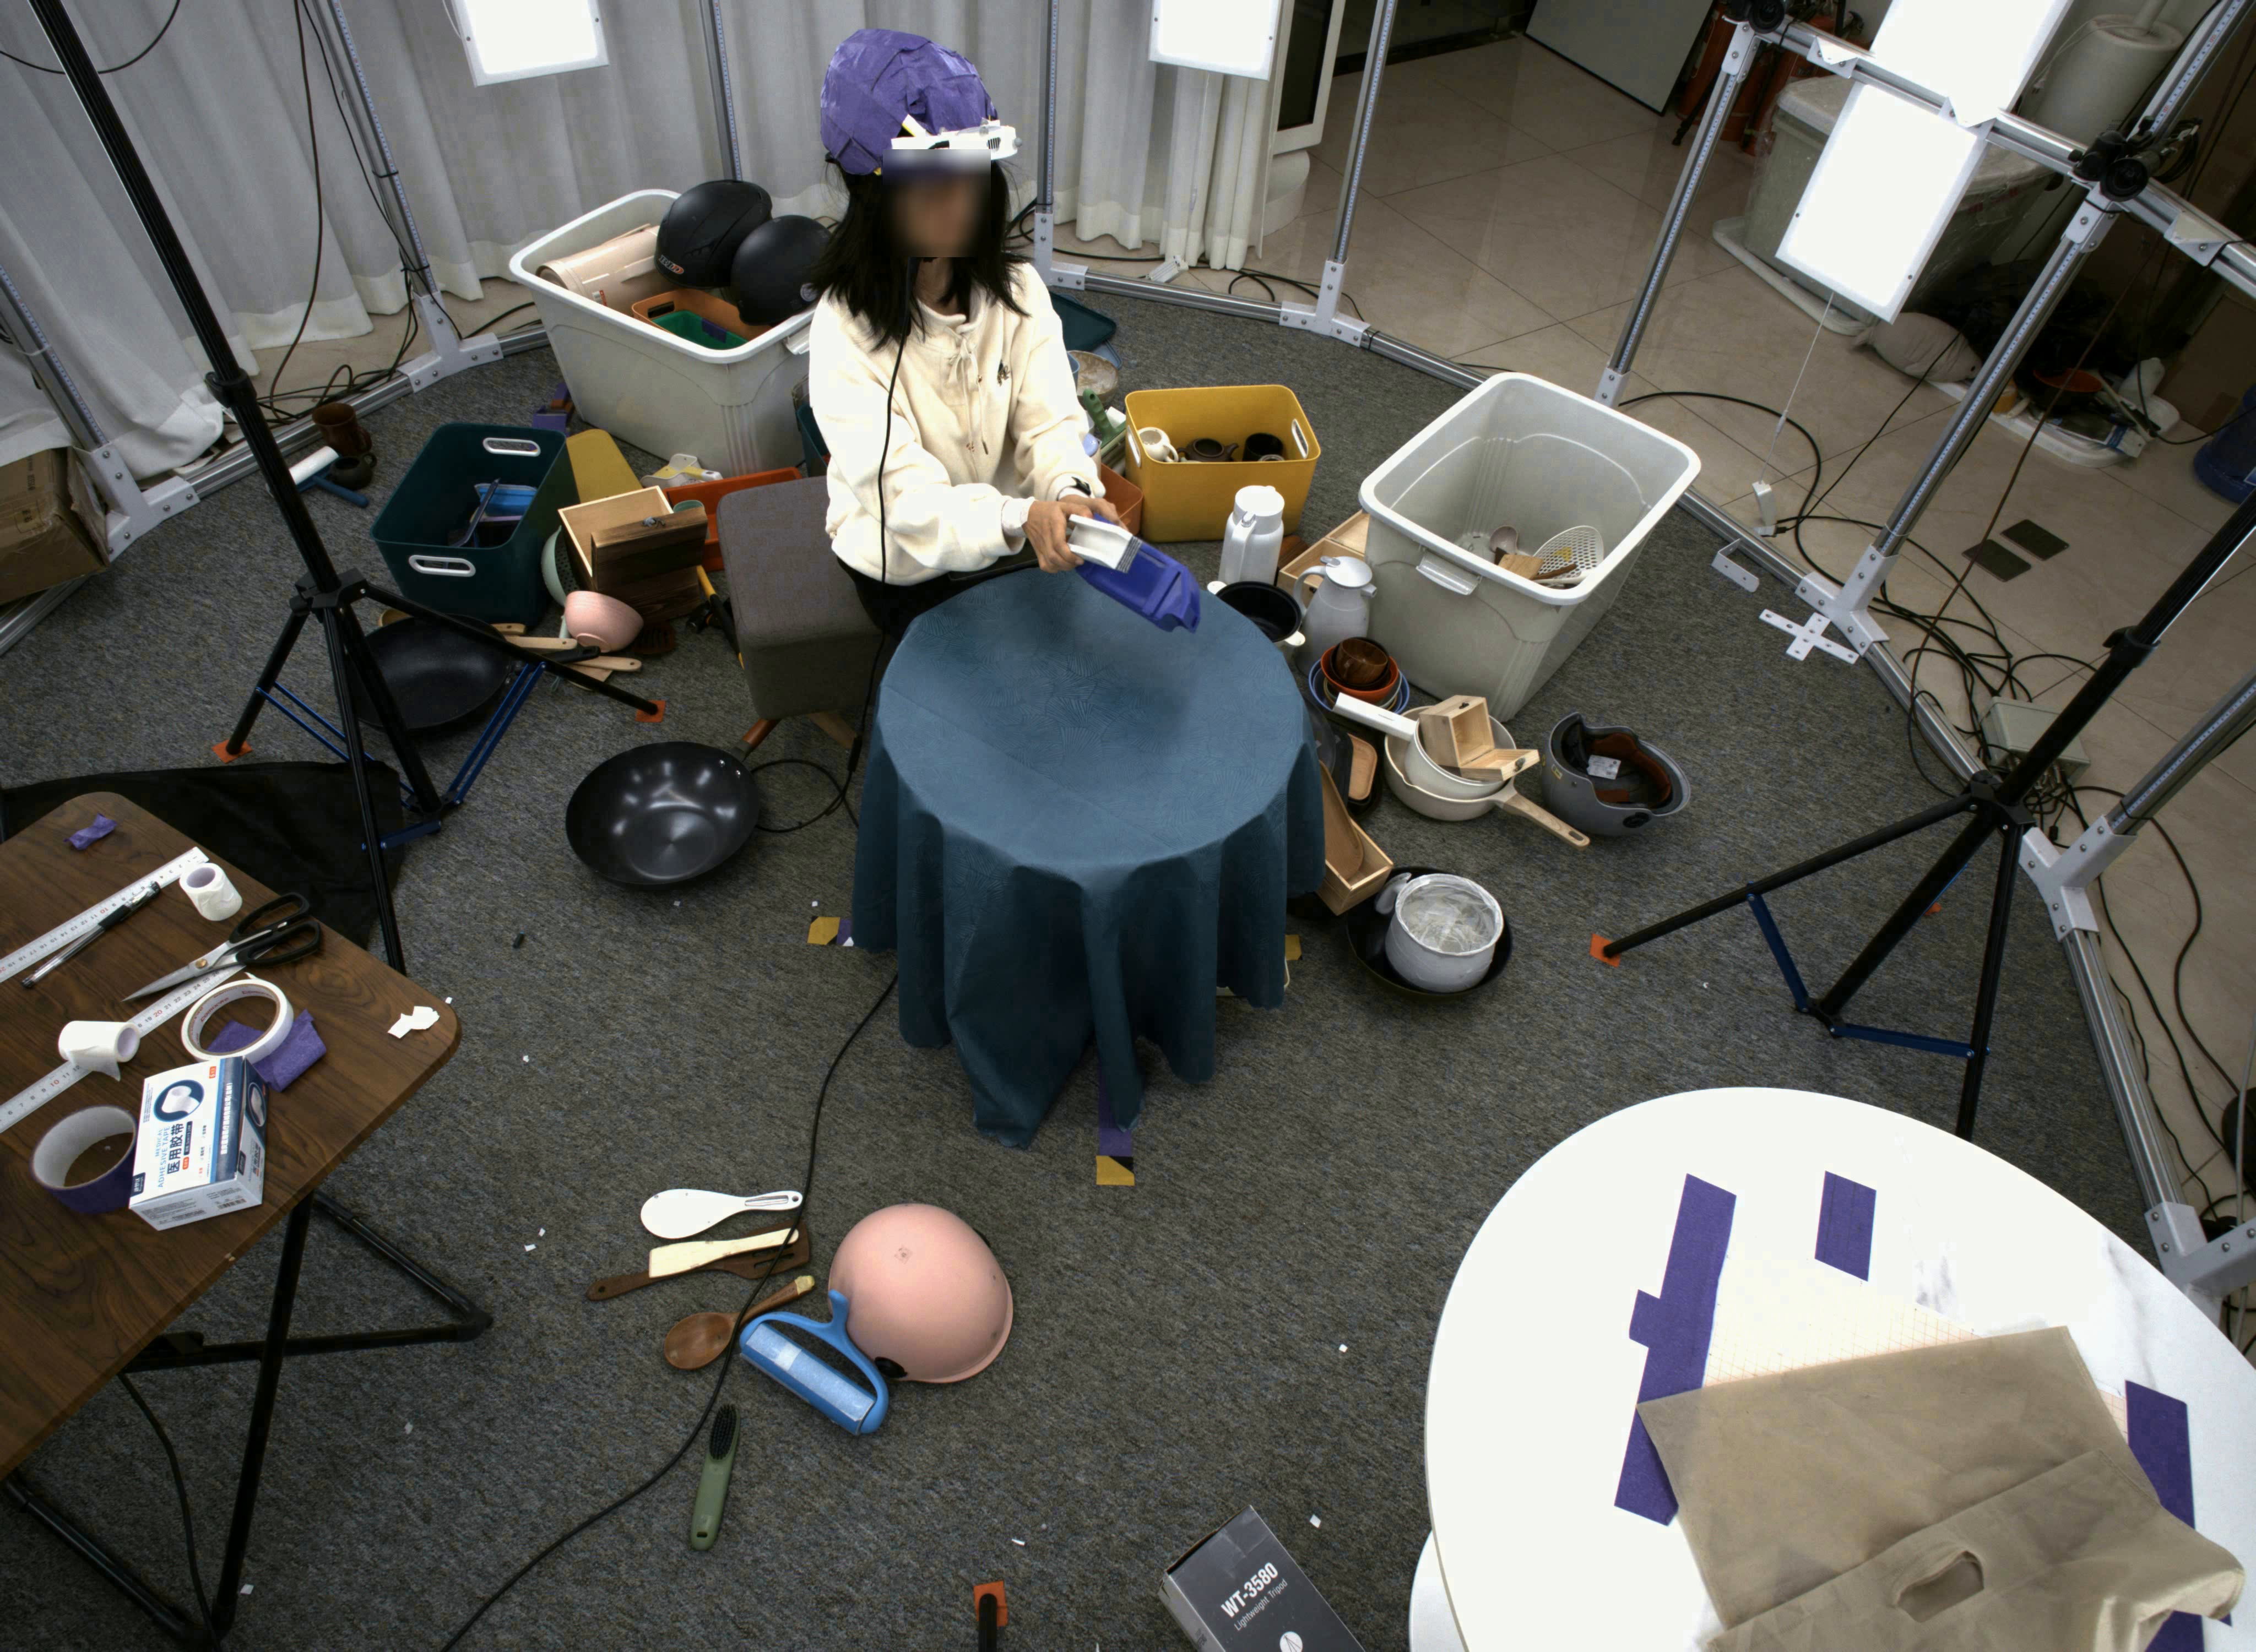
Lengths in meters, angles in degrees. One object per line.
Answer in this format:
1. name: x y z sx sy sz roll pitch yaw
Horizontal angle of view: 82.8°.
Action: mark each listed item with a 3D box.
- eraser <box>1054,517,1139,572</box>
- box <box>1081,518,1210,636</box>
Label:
1. eraser: -0.041 -0.366 1.672 0.046 0.050 0.136 23 3 -34
2. box: 0.031 -0.333 1.770 0.180 0.124 0.082 31 94 13
